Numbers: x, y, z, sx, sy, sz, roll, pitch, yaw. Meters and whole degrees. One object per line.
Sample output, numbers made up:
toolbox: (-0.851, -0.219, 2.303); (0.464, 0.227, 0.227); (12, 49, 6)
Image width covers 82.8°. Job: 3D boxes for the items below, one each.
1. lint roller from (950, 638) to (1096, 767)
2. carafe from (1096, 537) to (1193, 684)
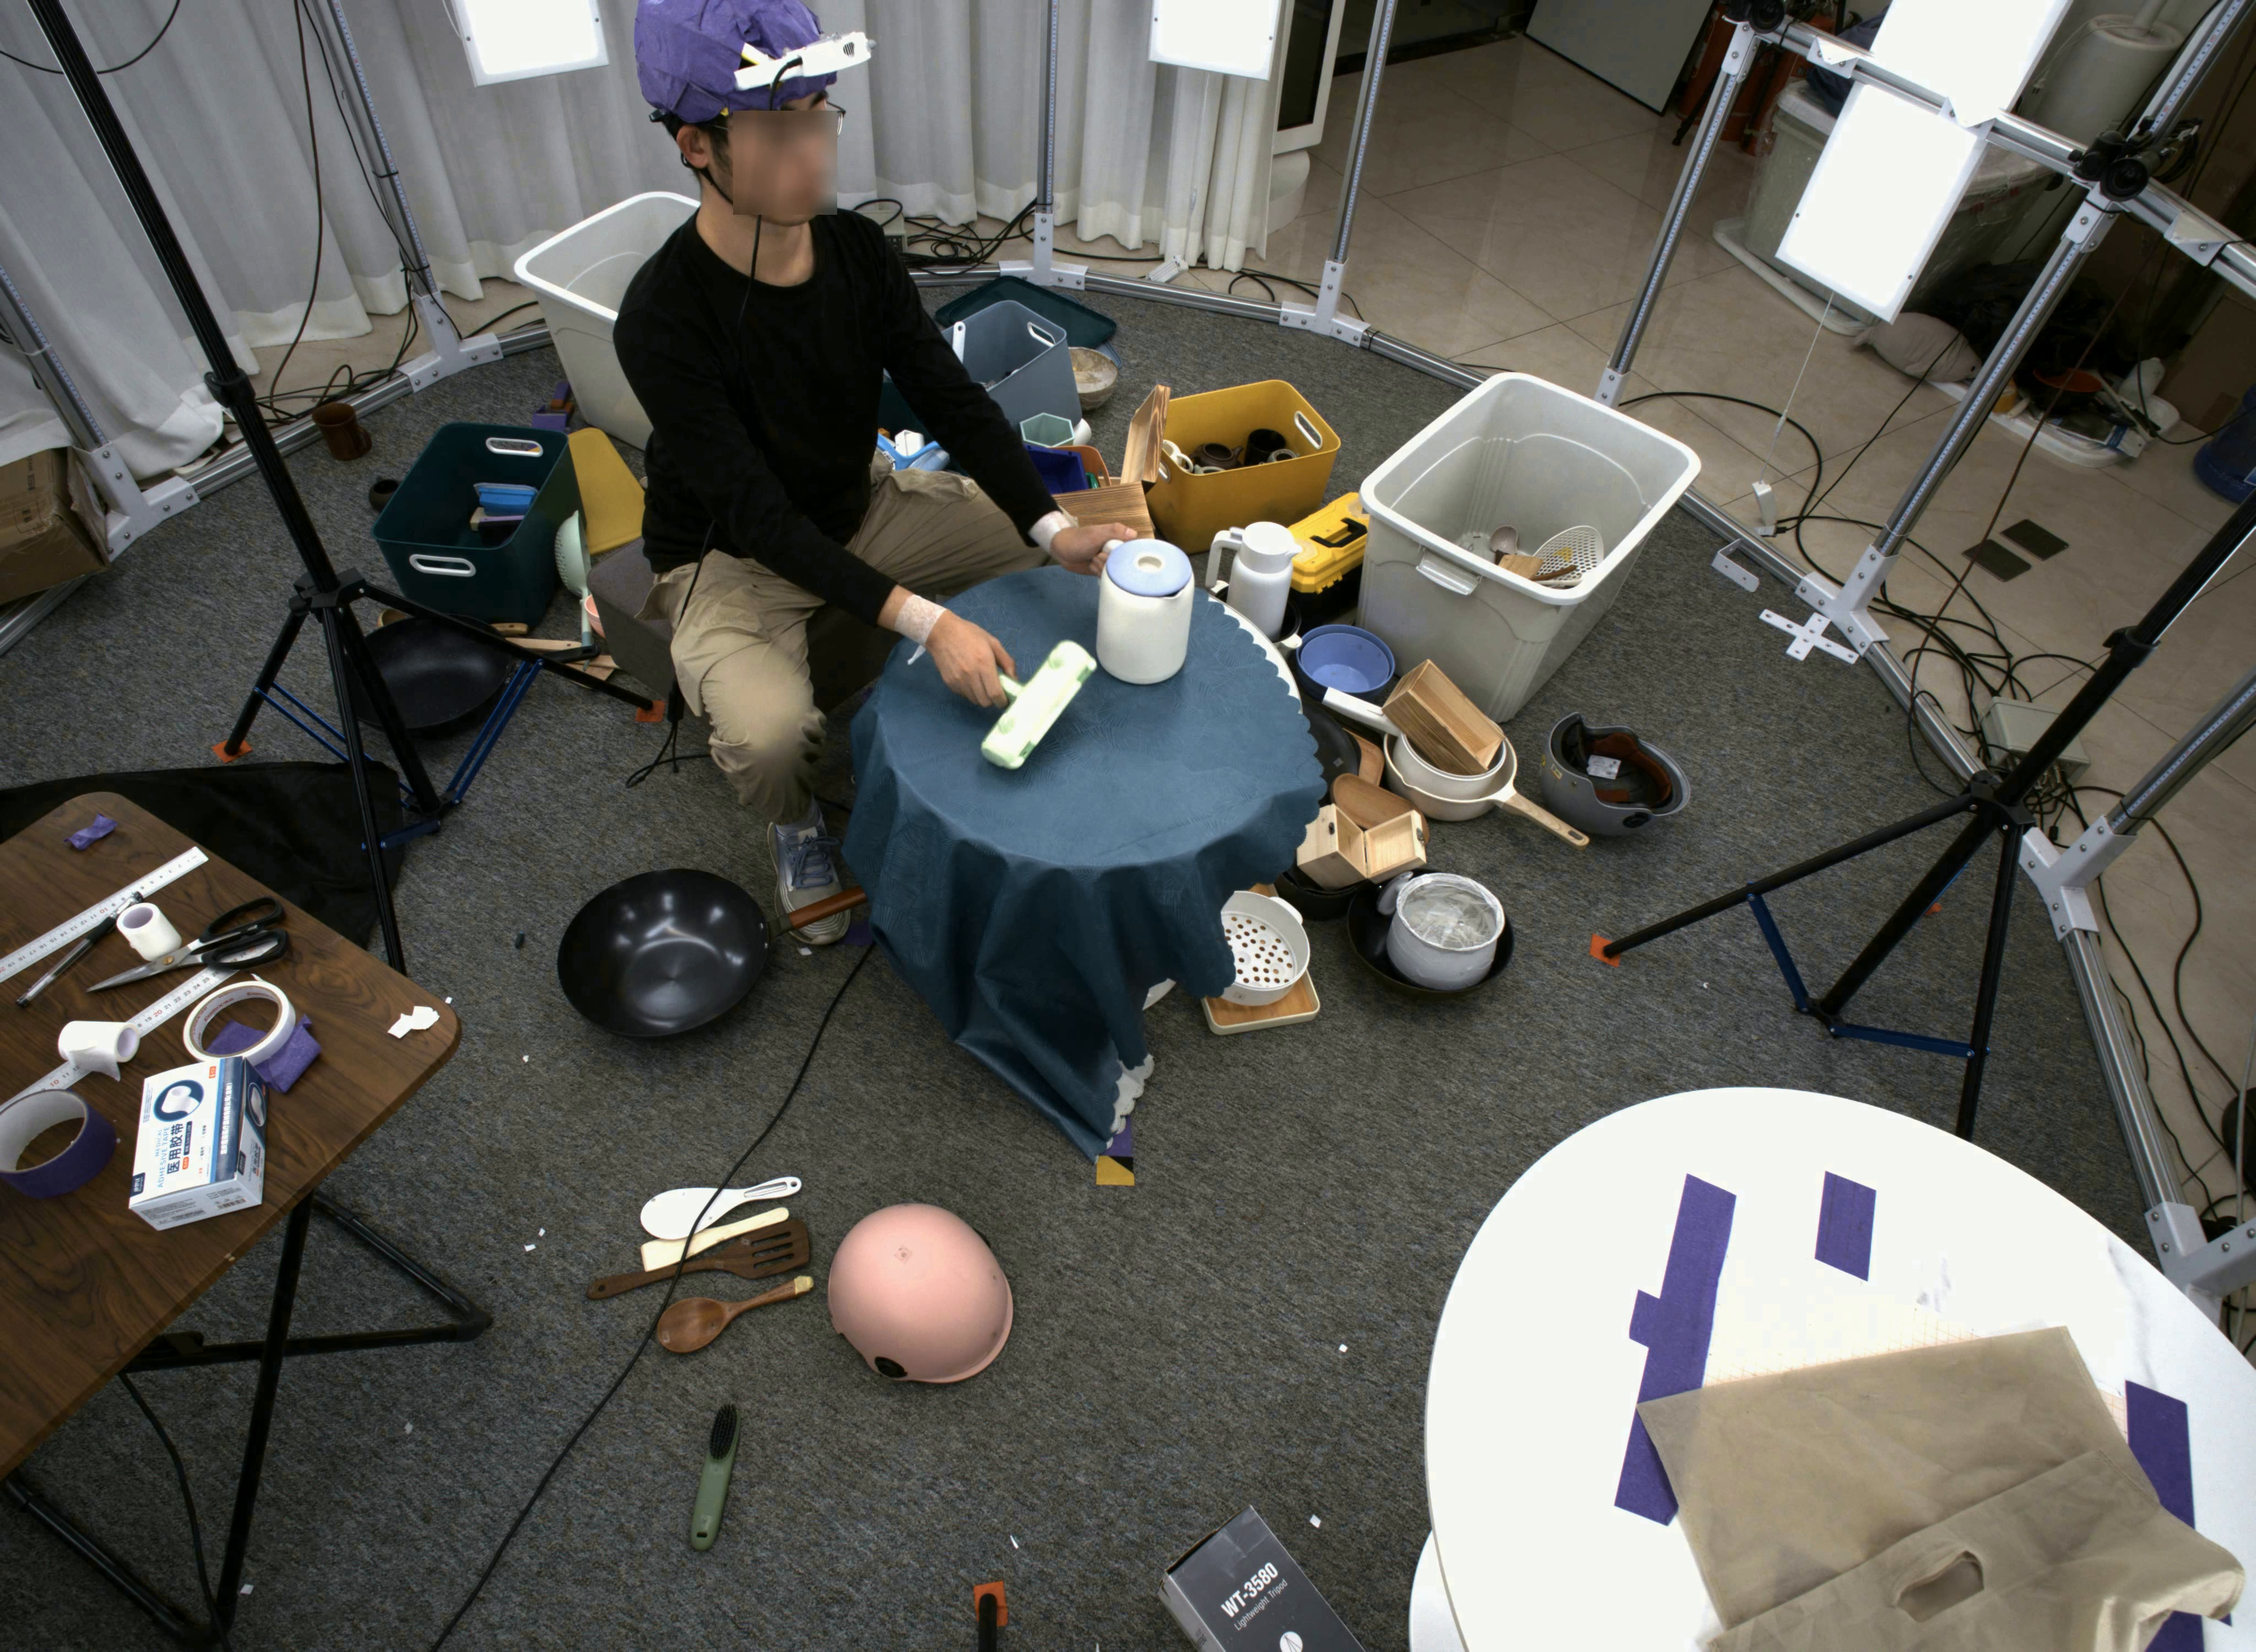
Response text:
lint roller: (-0.169, -0.198, 1.742); (0.184, 0.081, 0.201); (30, 70, 12)
carafe: (0.011, -0.321, 1.838); (0.132, 0.178, 0.195); (-22, 53, -22)
